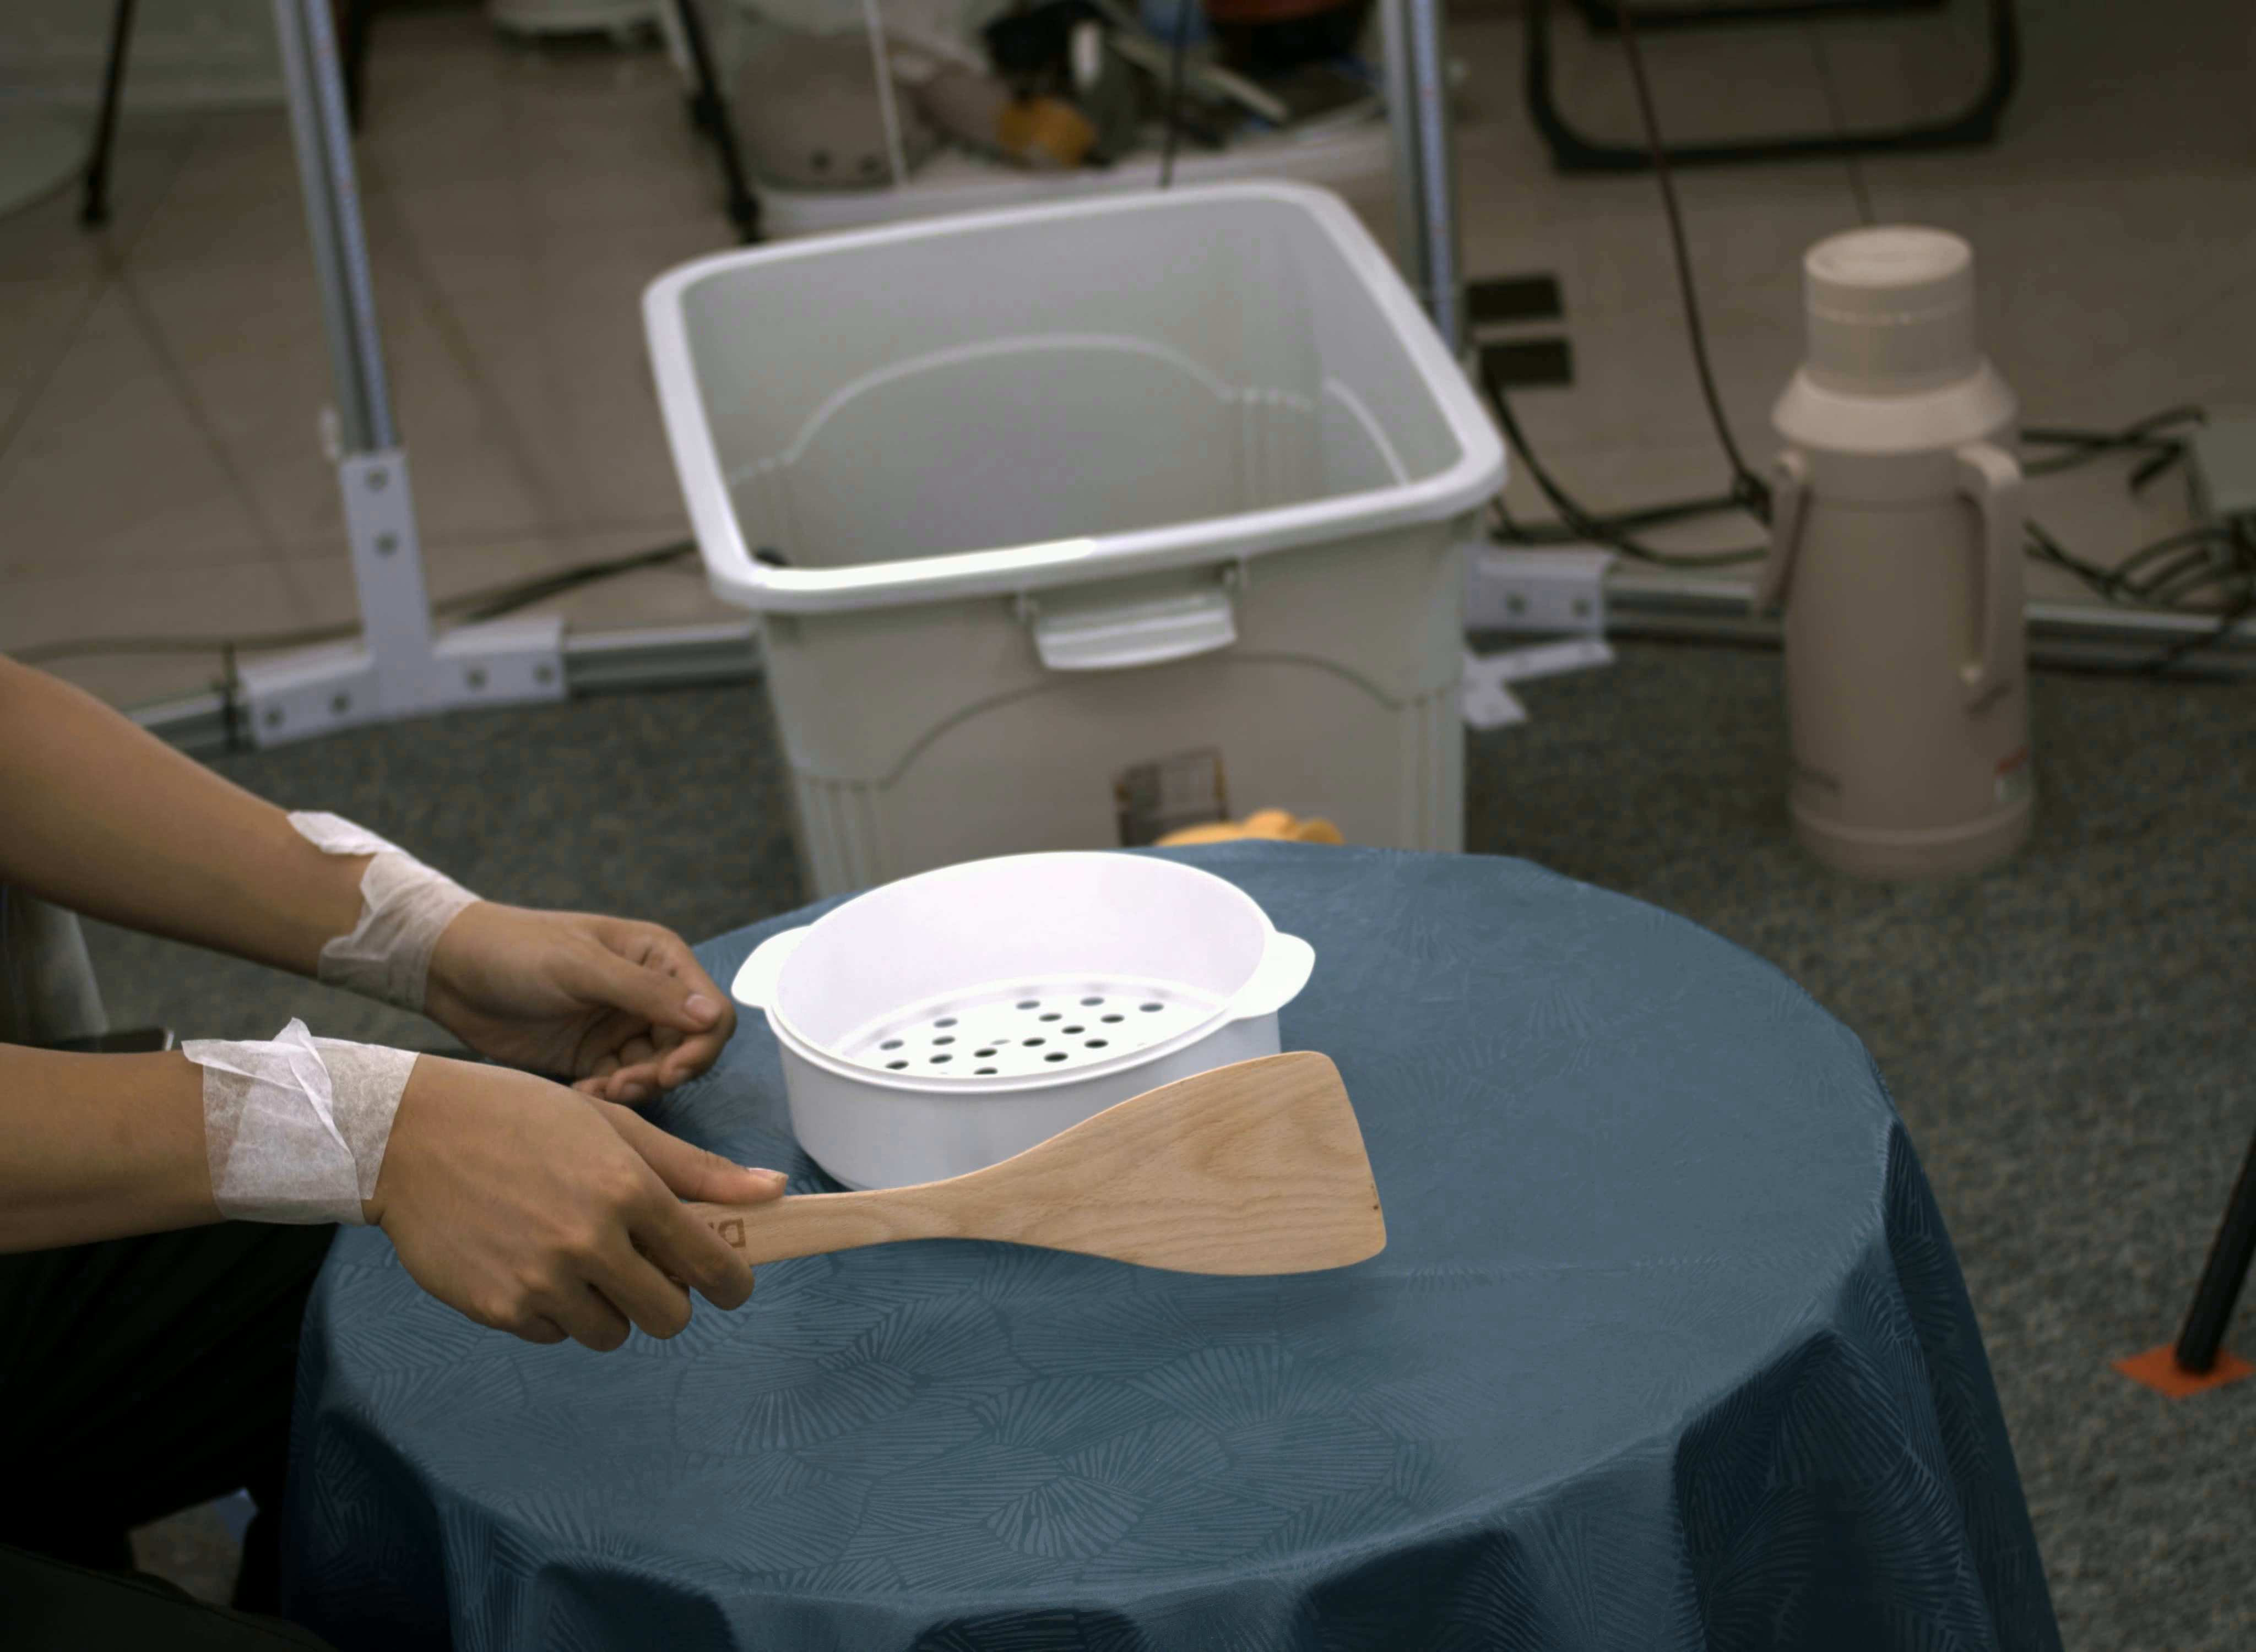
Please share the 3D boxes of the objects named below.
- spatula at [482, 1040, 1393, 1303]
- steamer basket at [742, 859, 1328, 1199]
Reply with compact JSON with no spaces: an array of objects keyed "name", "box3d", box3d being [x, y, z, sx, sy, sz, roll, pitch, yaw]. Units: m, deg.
[{"name":"spatula","box3d":[-0.065,0.132,1.985,0.327,0.080,0.016,-7,3,-18]},{"name":"steamer basket","box3d":[-0.034,0.082,2.202,0.230,0.070,0.199,1,24,16]}]
